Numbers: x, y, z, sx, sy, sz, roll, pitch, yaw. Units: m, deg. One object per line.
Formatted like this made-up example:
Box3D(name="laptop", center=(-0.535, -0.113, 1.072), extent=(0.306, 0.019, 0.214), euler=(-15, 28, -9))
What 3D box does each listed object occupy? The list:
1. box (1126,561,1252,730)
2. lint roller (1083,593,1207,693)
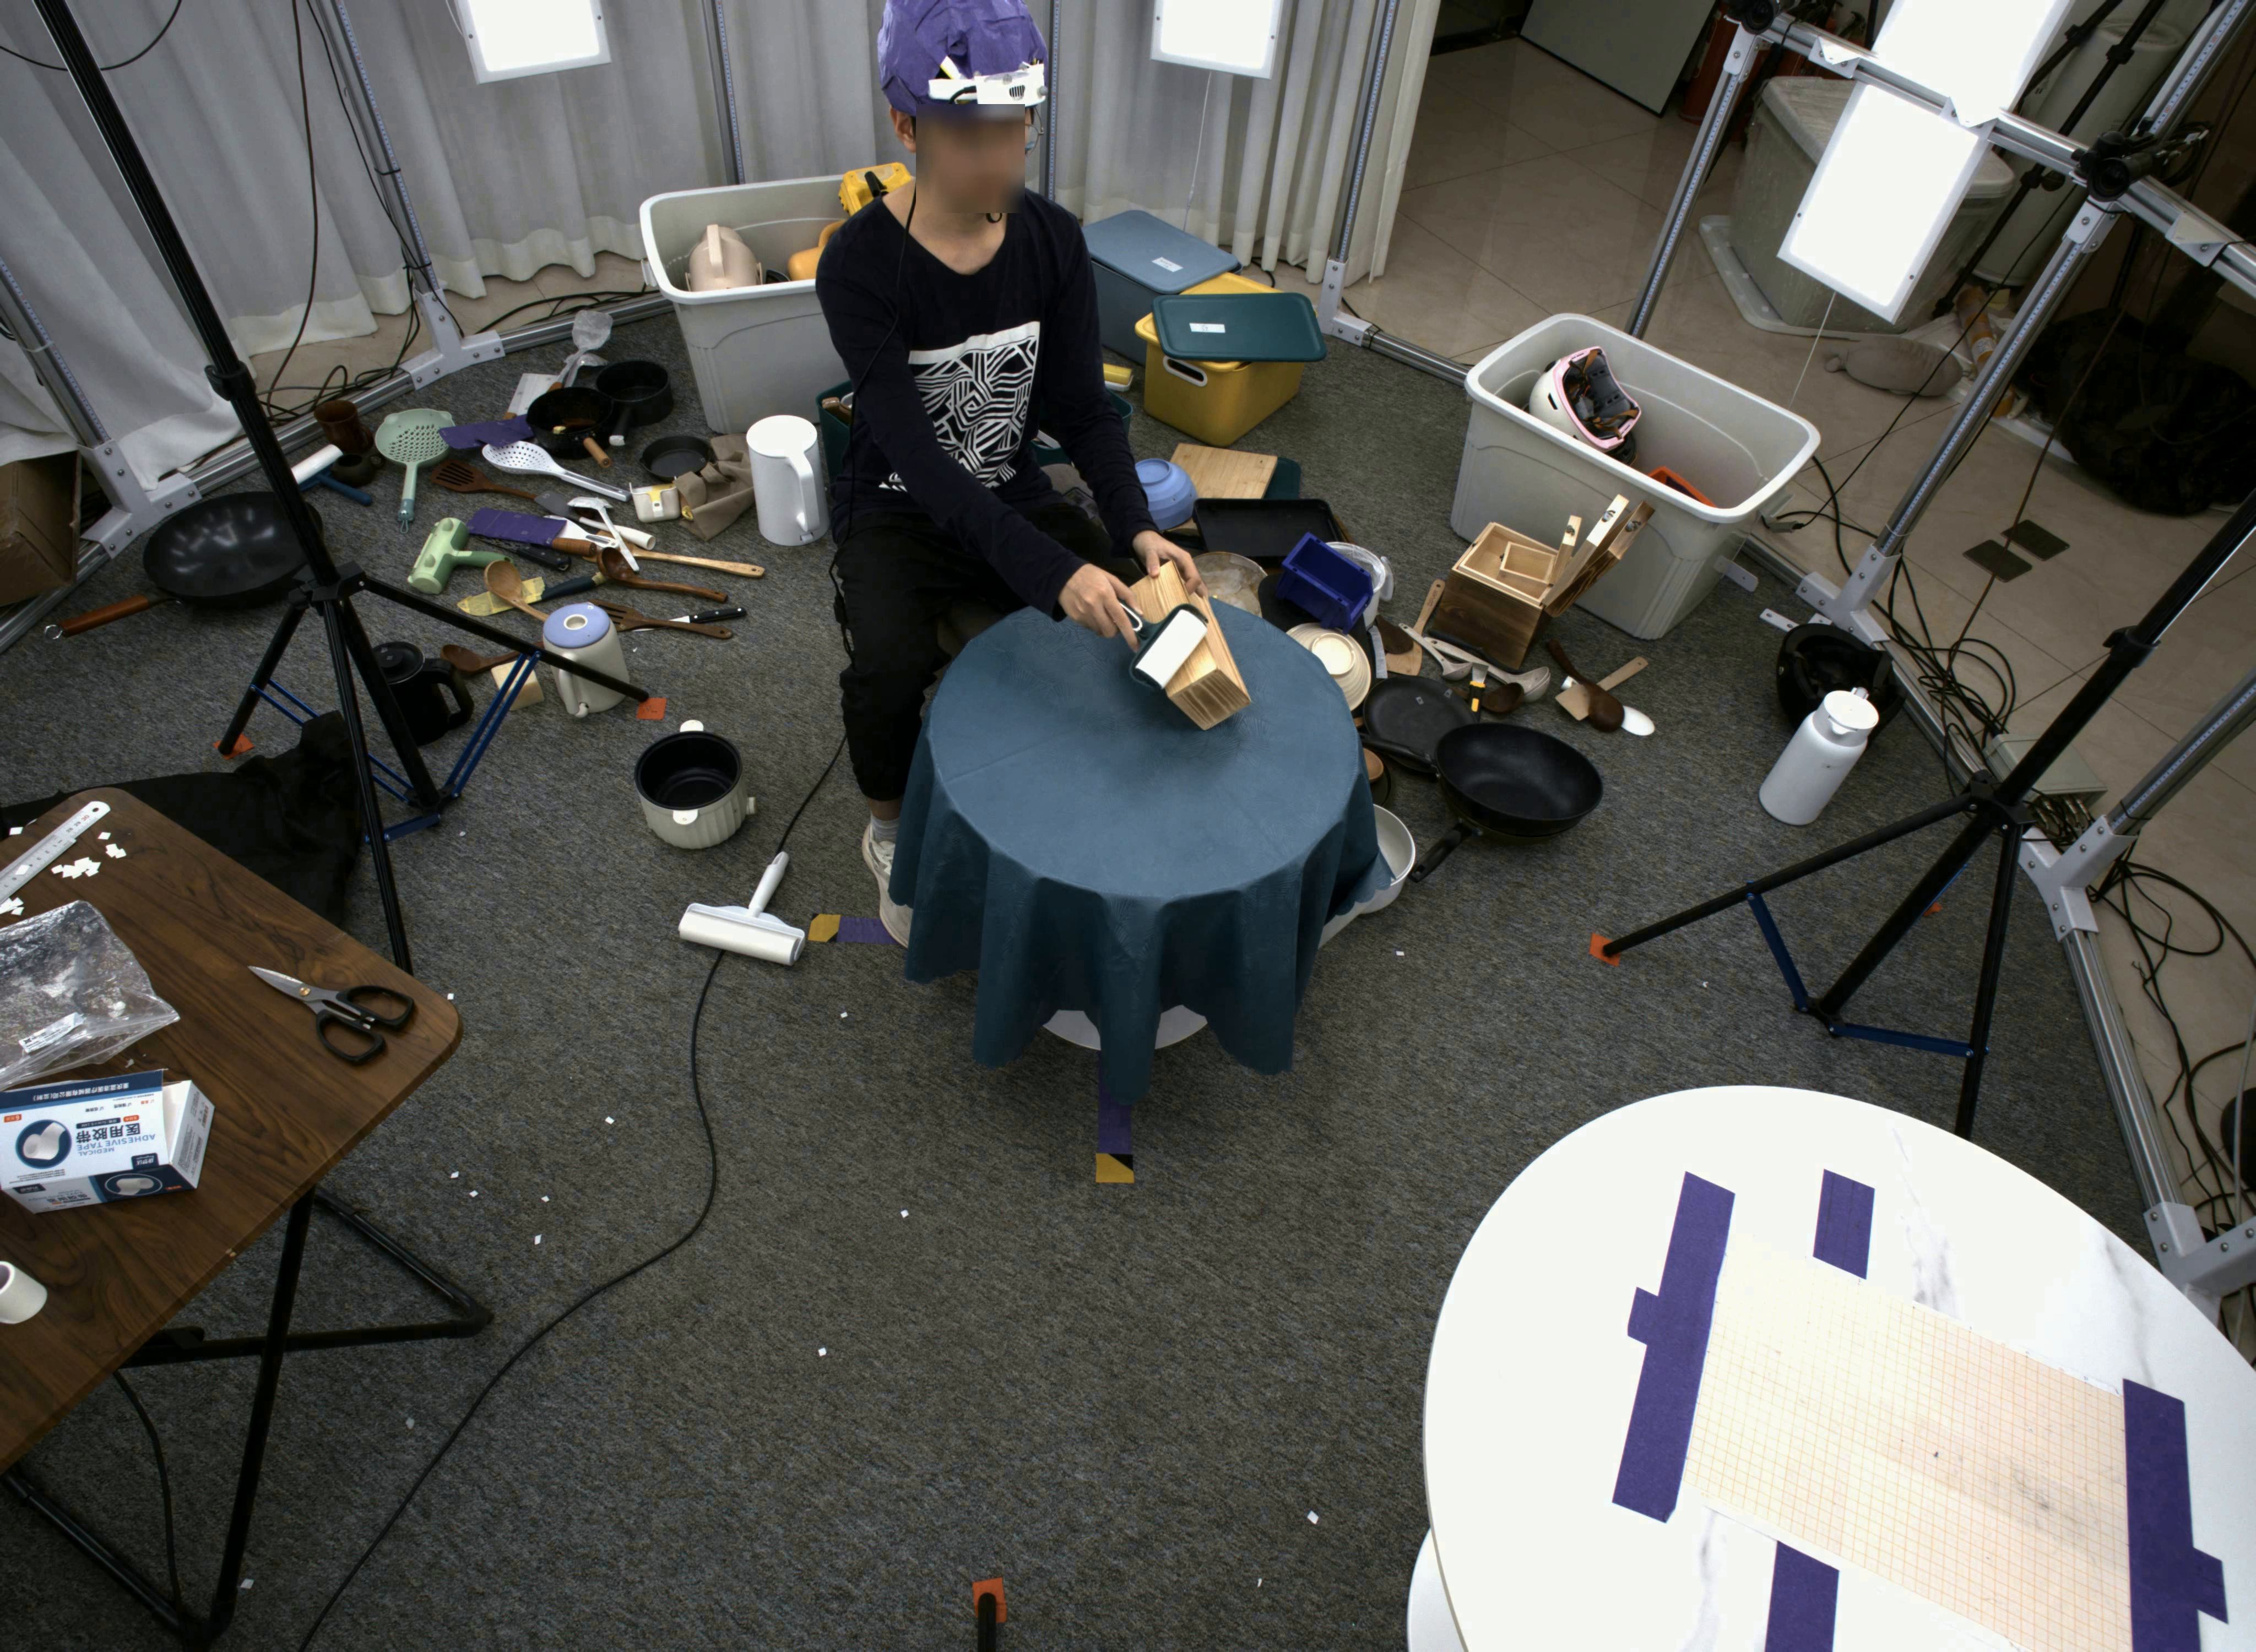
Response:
Box3D(name="box", center=(0.084, -0.254, 1.801), extent=(0.080, 0.105, 0.216), euler=(-32, 53, 17))
Box3D(name="lint roller", center=(0.004, -0.272, 1.725), extent=(0.182, 0.047, 0.134), euler=(36, 85, 21))
